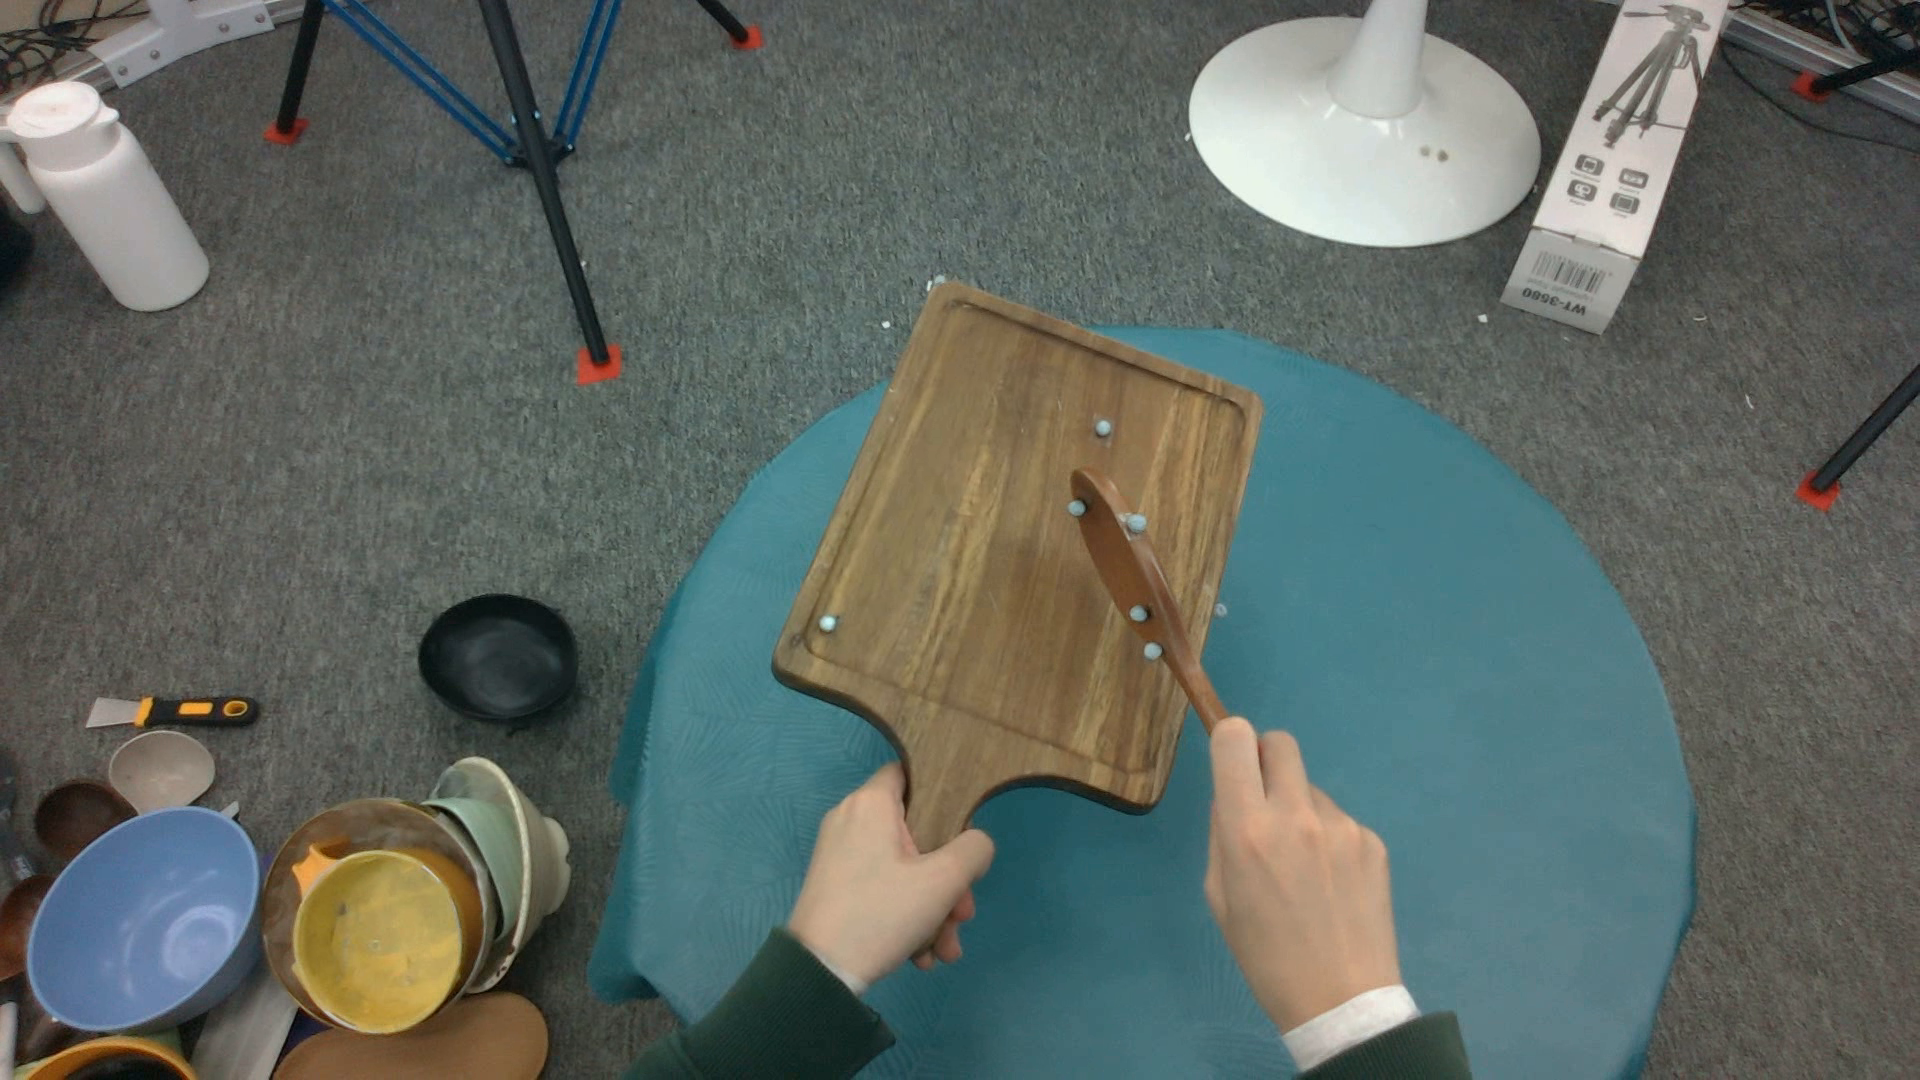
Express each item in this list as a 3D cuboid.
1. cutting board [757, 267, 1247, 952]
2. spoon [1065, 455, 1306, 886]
[{"bbox_3d":[0.017,0.029,0.679,0.201,0.023,0.354,21,61,-1],"label":"cutting board"},{"bbox_3d":[0.095,0.052,0.606,0.017,0.075,0.216,-18,62,-12],"label":"spoon"}]
